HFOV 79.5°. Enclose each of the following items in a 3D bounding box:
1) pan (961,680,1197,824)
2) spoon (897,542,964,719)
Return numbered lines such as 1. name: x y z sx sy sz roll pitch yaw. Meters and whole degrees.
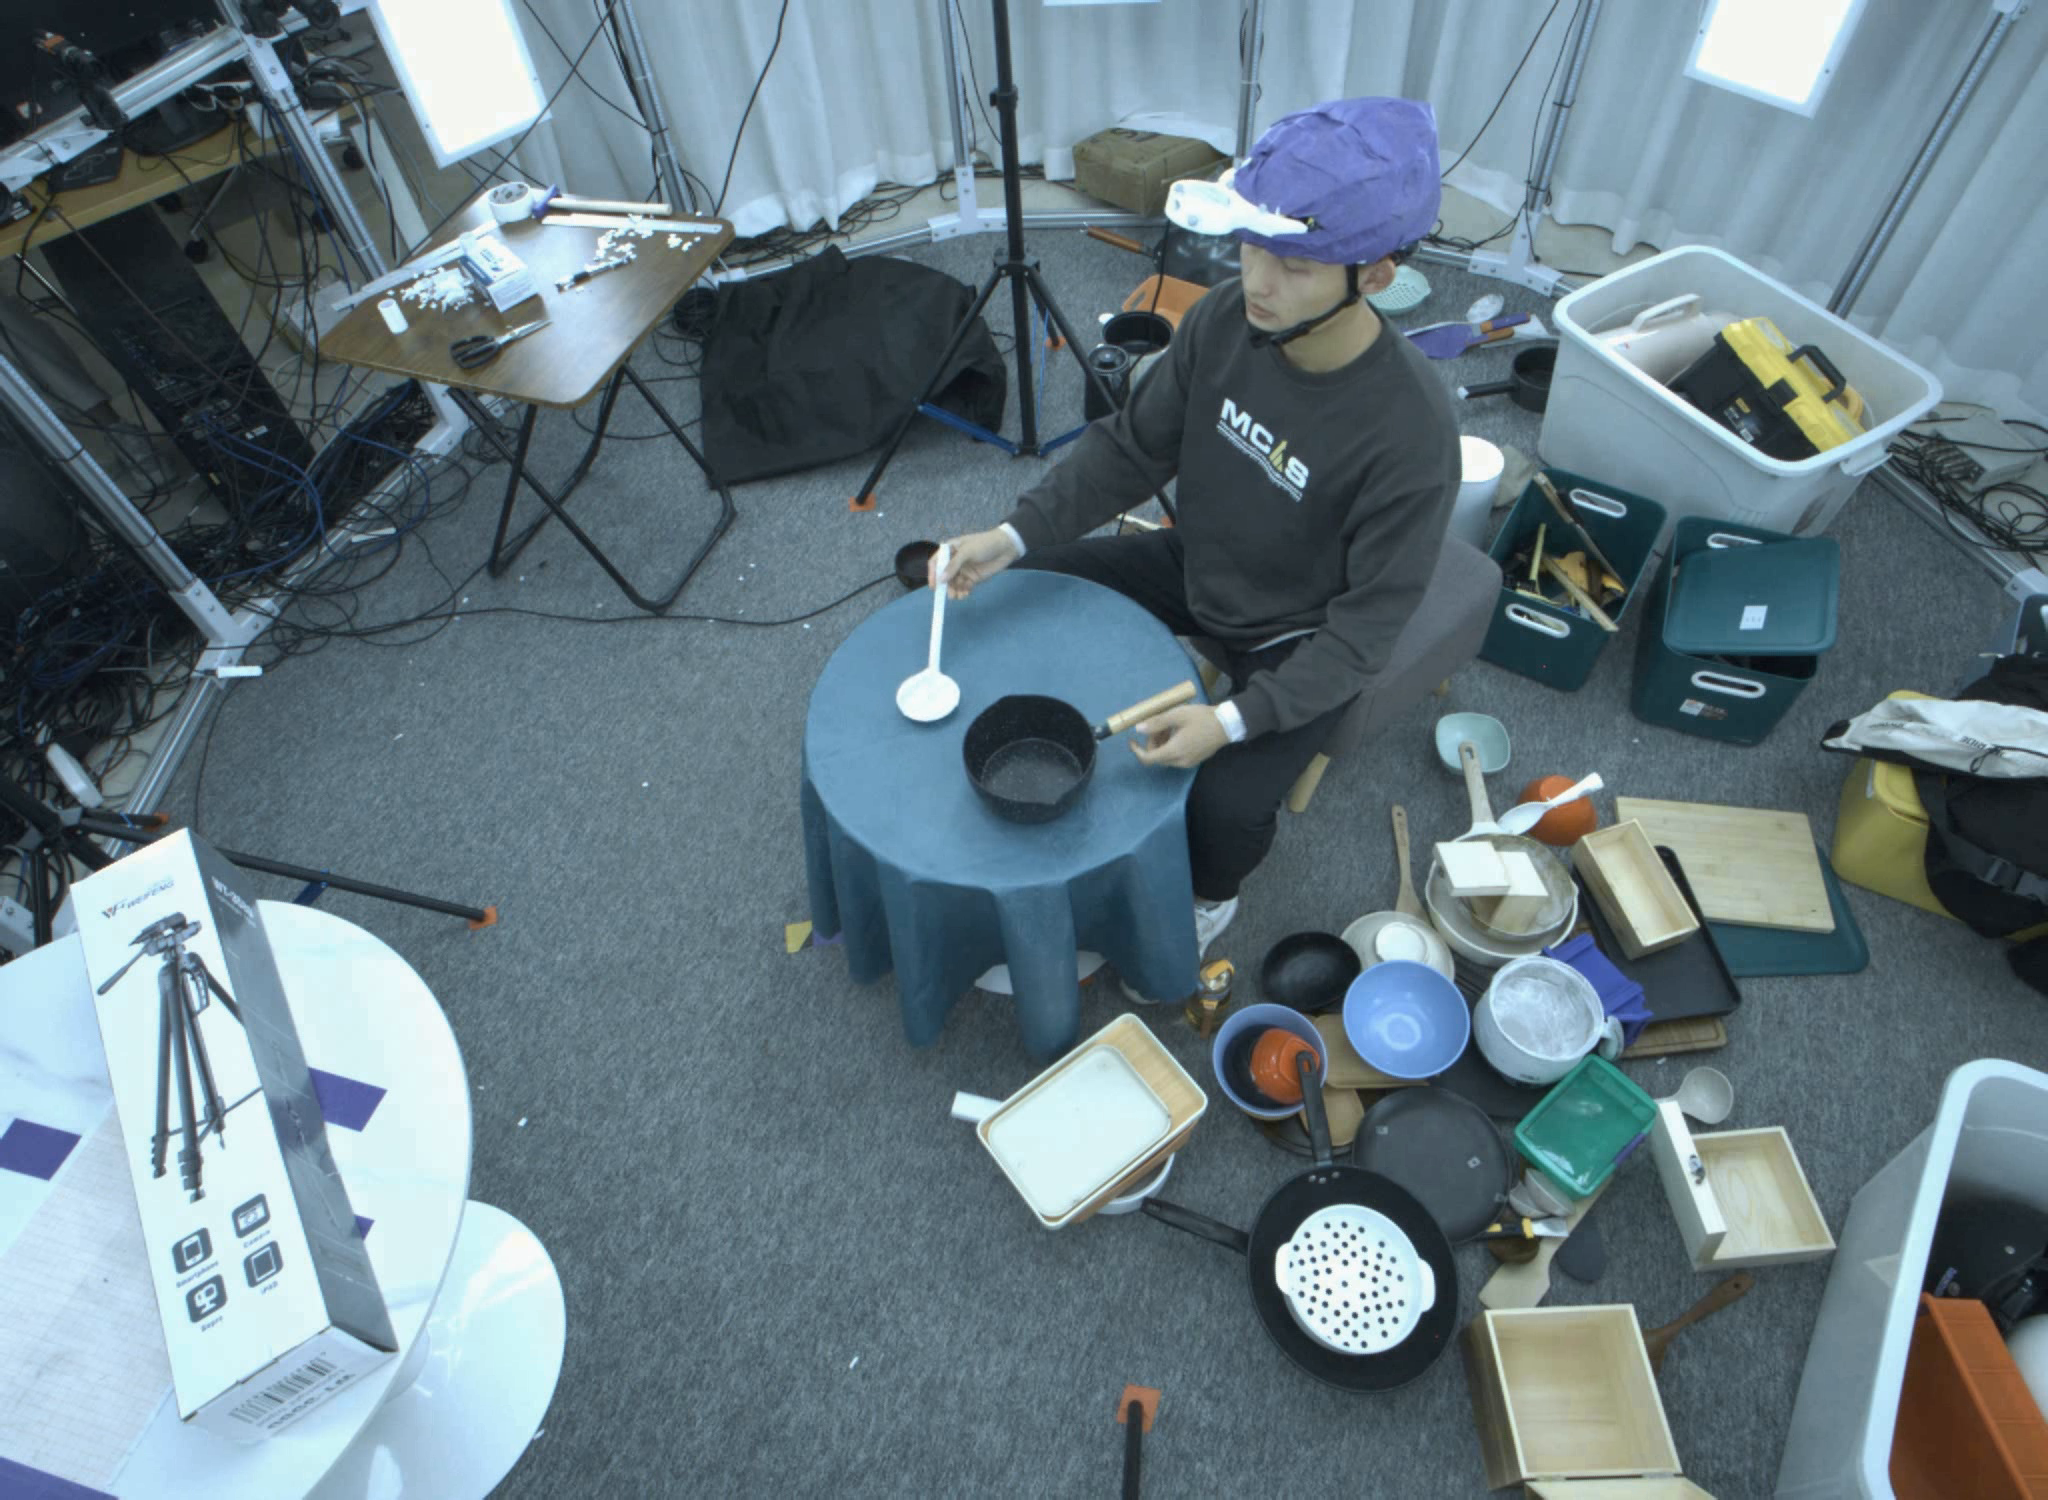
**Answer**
1. pan: 0.082 -0.014 1.736 0.345 0.109 0.204 -19 55 -10
2. spoon: -0.126 -0.181 1.839 0.101 0.059 0.277 8 88 0
